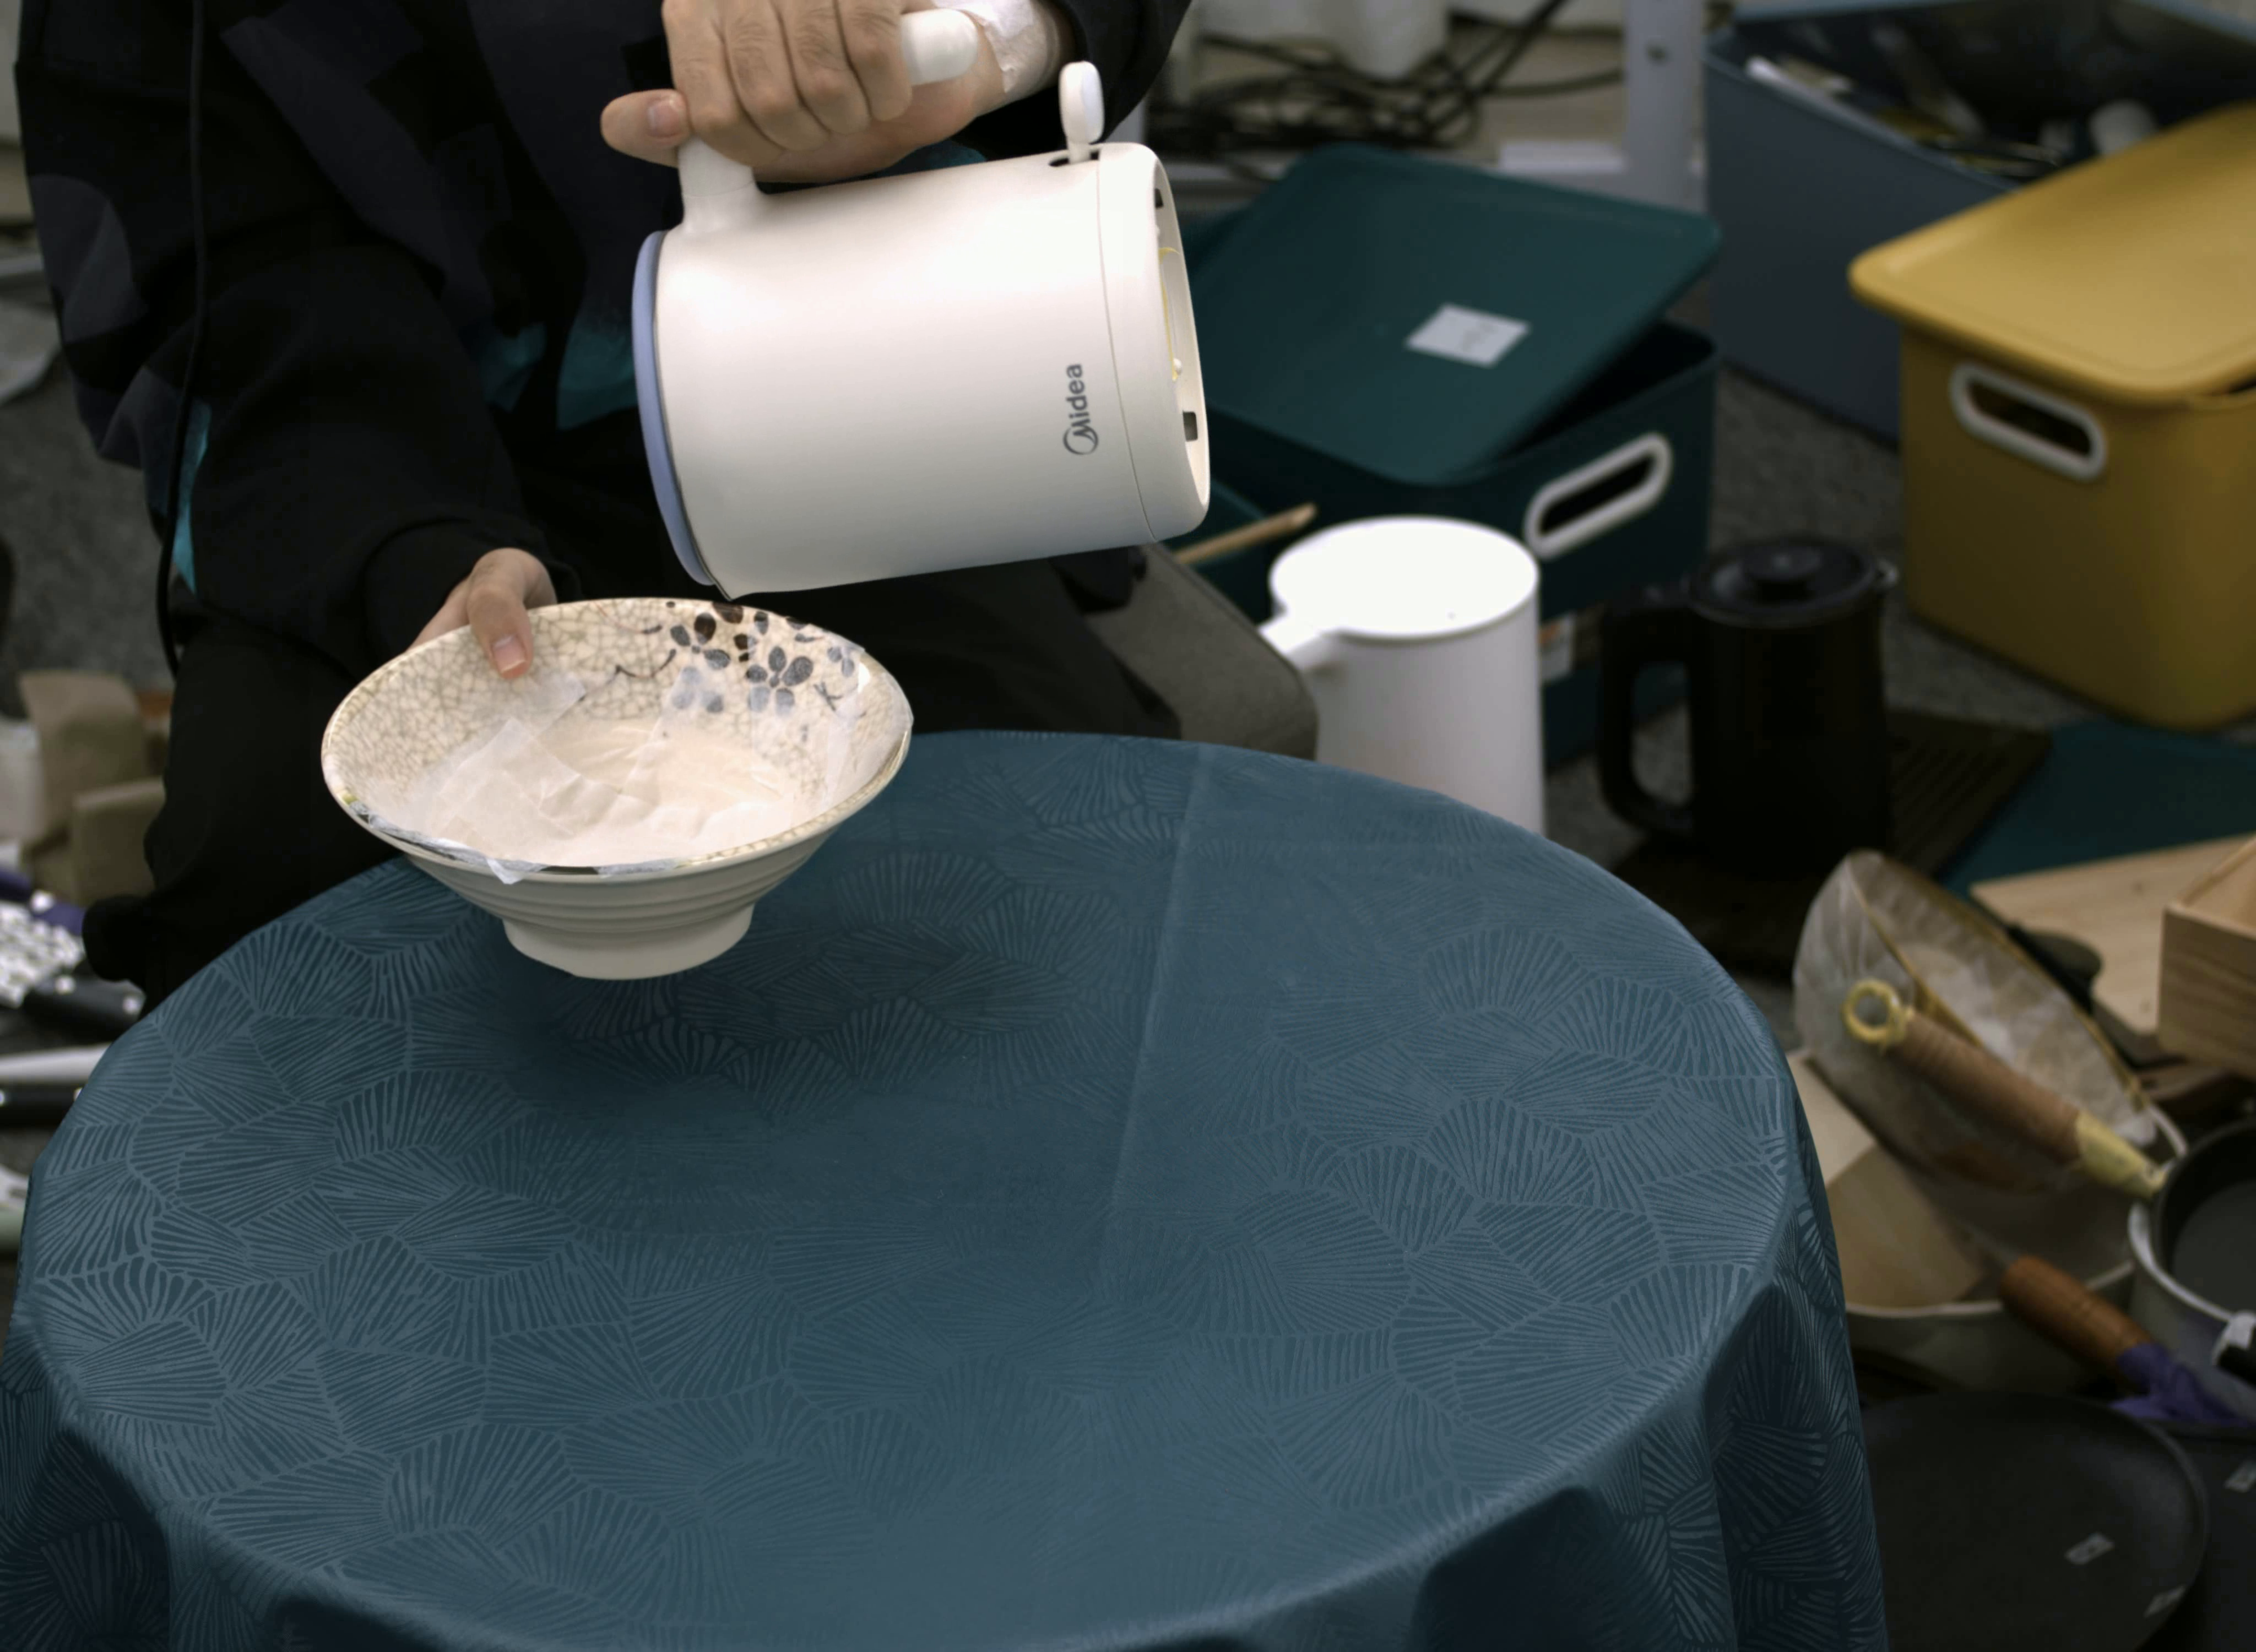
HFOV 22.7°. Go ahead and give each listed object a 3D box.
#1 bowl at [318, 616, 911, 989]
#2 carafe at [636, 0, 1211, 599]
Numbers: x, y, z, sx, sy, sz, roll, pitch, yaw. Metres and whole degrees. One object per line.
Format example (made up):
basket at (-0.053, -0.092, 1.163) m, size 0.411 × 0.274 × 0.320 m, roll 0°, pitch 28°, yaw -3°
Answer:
bowl at (-0.176, 0.003, 1.944) m, size 0.203 × 0.077 × 0.207 m, roll 0°, pitch 25°, yaw 0°
carafe at (-0.068, -0.173, 1.846) m, size 0.181 × 0.190 × 0.134 m, roll -5°, pitch 19°, yaw 3°
